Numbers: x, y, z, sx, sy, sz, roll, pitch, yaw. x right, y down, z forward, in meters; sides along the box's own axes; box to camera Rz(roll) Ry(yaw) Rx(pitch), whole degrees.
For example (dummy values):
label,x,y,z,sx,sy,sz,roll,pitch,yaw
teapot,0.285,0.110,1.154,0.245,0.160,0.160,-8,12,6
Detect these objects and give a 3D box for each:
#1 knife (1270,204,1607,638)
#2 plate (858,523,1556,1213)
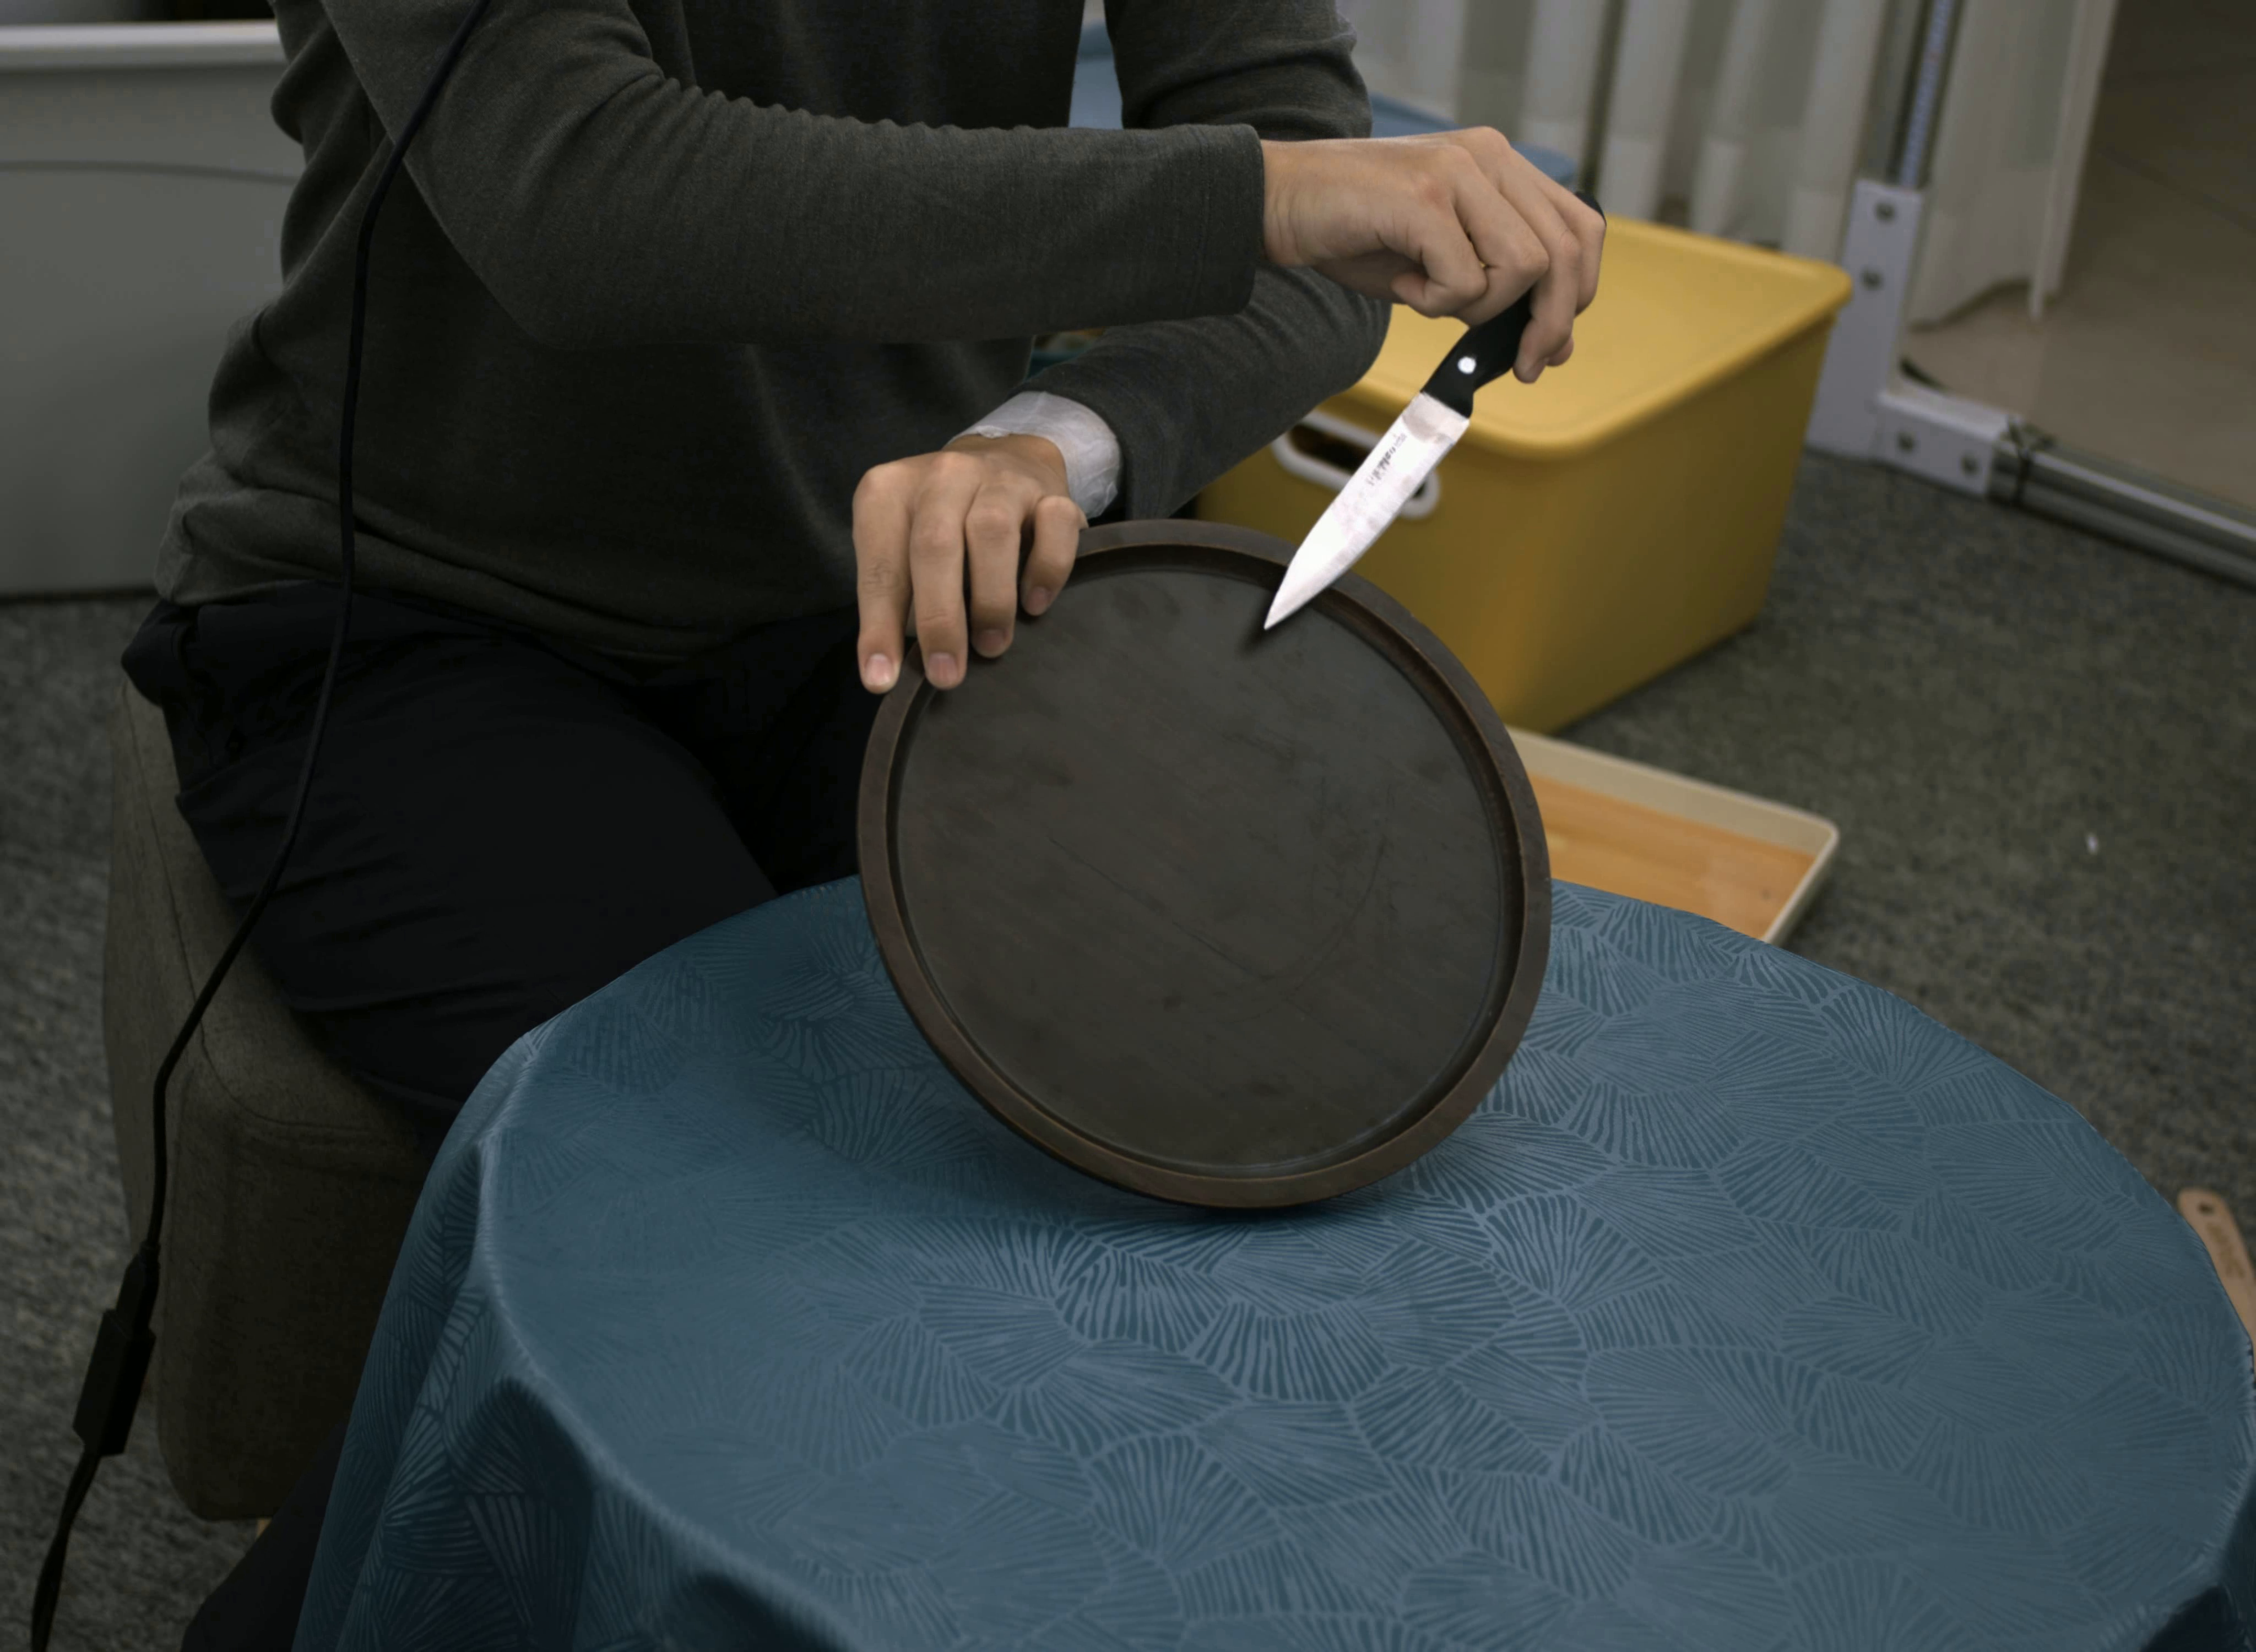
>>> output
label,x,y,z,sx,sy,sz,roll,pitch,yaw
knife,0.110,-0.149,1.929,0.024,0.016,0.238,37,59,1
plate,0.027,0.014,1.842,0.253,0.029,0.256,7,67,-17
